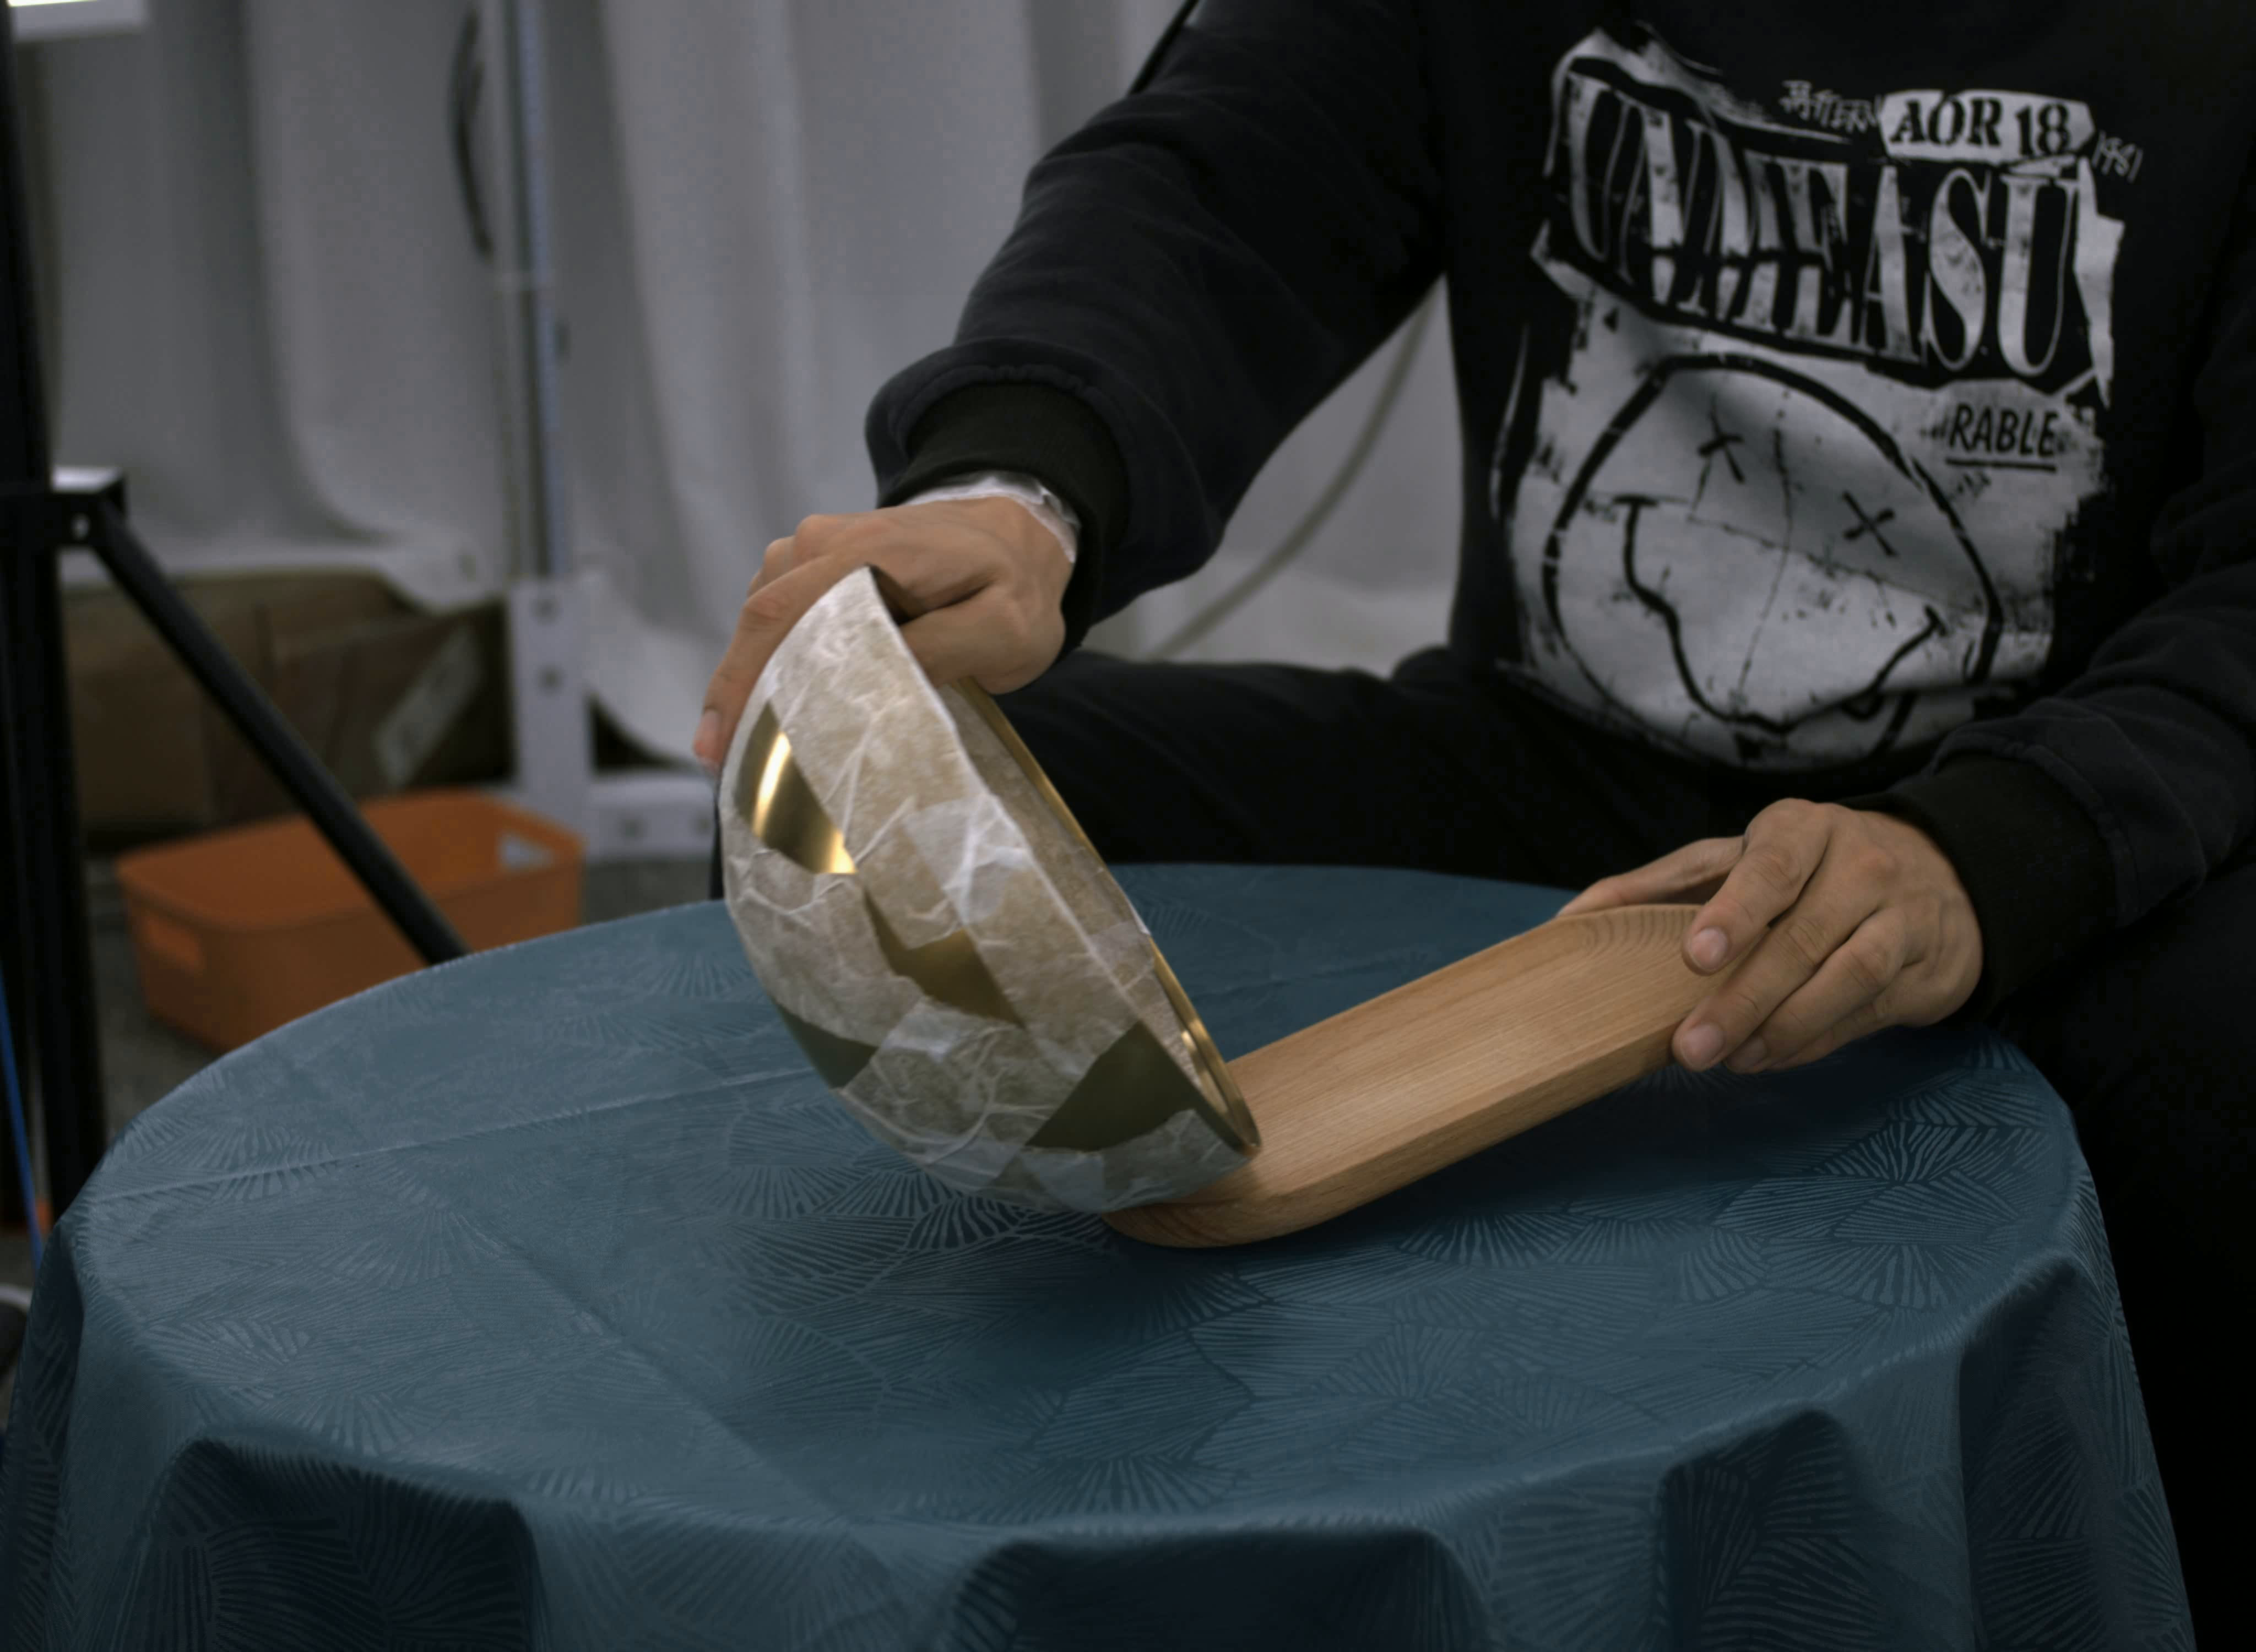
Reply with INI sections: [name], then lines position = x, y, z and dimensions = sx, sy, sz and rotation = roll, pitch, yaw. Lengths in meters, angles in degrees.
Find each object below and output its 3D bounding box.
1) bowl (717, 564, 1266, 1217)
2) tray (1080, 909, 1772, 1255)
[bowl]
position = -0.051, 0.036, 1.501
dimensions = 0.094, 0.213, 0.216
rotation = -35, 16, 4
[tray]
position = 0.089, 0.074, 1.561
dimensions = 0.227, 0.020, 0.104
rotation = -24, 20, -24
